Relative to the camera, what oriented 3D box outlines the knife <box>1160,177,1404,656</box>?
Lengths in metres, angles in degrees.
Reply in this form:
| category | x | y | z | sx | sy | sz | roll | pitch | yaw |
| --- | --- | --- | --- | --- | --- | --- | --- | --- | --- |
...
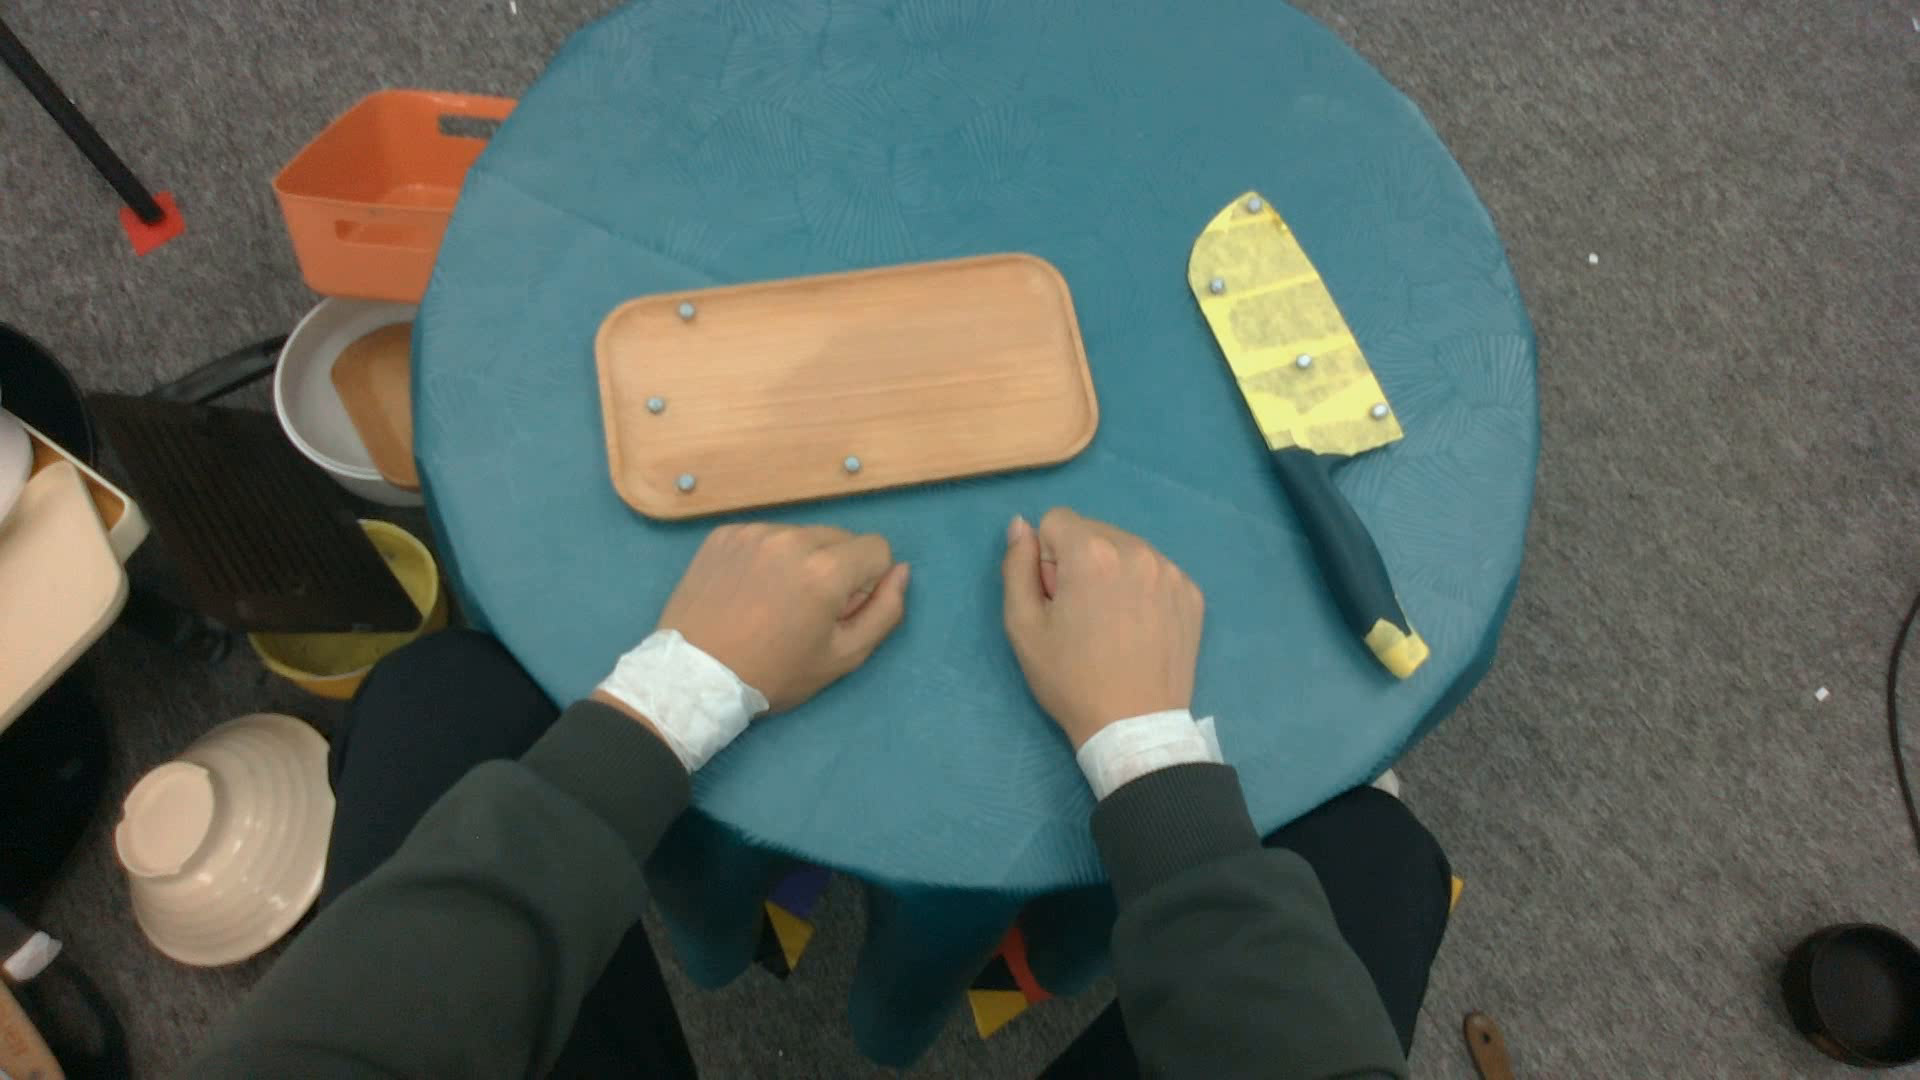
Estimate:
| category | x | y | z | sx | sy | sz | roll | pitch | yaw |
| --- | --- | --- | --- | --- | --- | --- | --- | --- | --- |
| knife | 0.179 | -0.076 | 0.734 | 0.081 | 0.027 | 0.290 | -15 | 71 | -9 |

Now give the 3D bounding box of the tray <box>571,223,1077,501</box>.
| category | x | y | z | sx | sy | sz | roll | pitch | yaw |
| --- | --- | --- | --- | --- | --- | --- | --- | --- | --- |
| tray | -0.069 | -0.094 | 0.714 | 0.251 | 0.023 | 0.131 | -9 | 73 | -10 |
